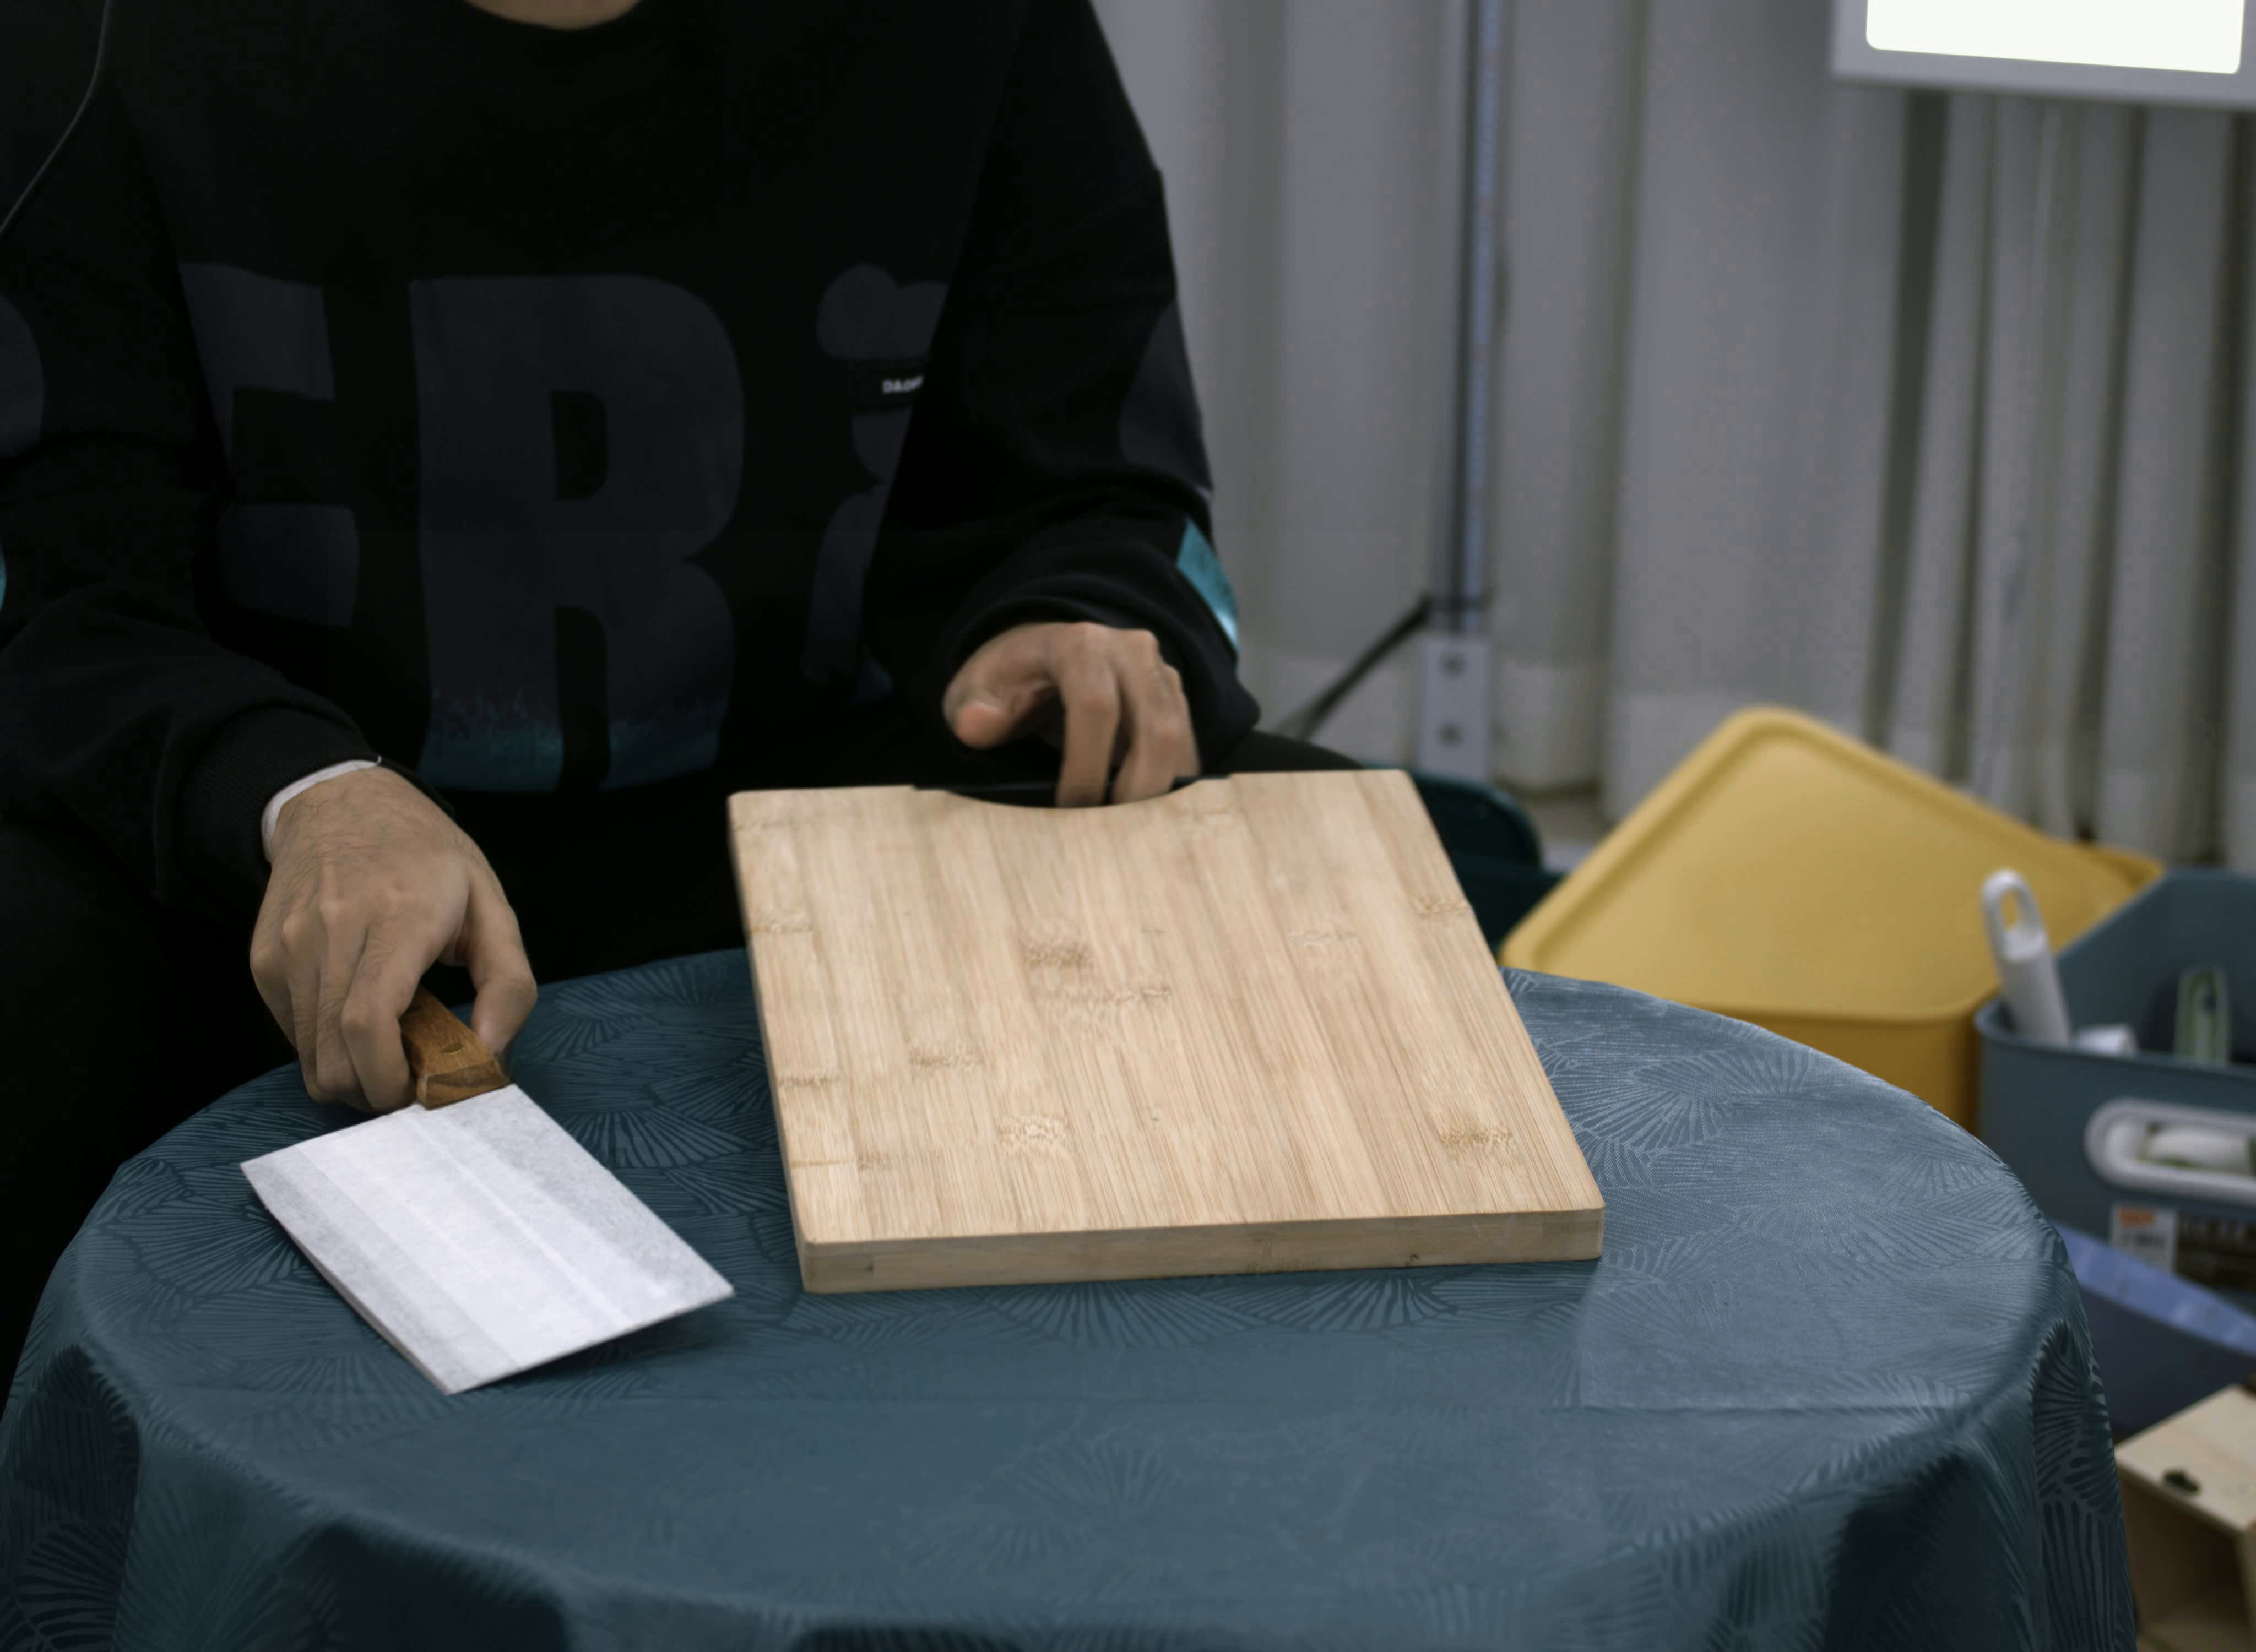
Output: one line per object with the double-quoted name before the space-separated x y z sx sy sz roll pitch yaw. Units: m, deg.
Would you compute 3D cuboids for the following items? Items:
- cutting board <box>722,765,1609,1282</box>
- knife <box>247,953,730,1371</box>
"cutting board" 0.001 0.058 1.703 0.250 0.024 0.345 -2 23 -9
"knife" -0.215 0.101 1.599 0.093 0.021 0.302 -20 24 -21
